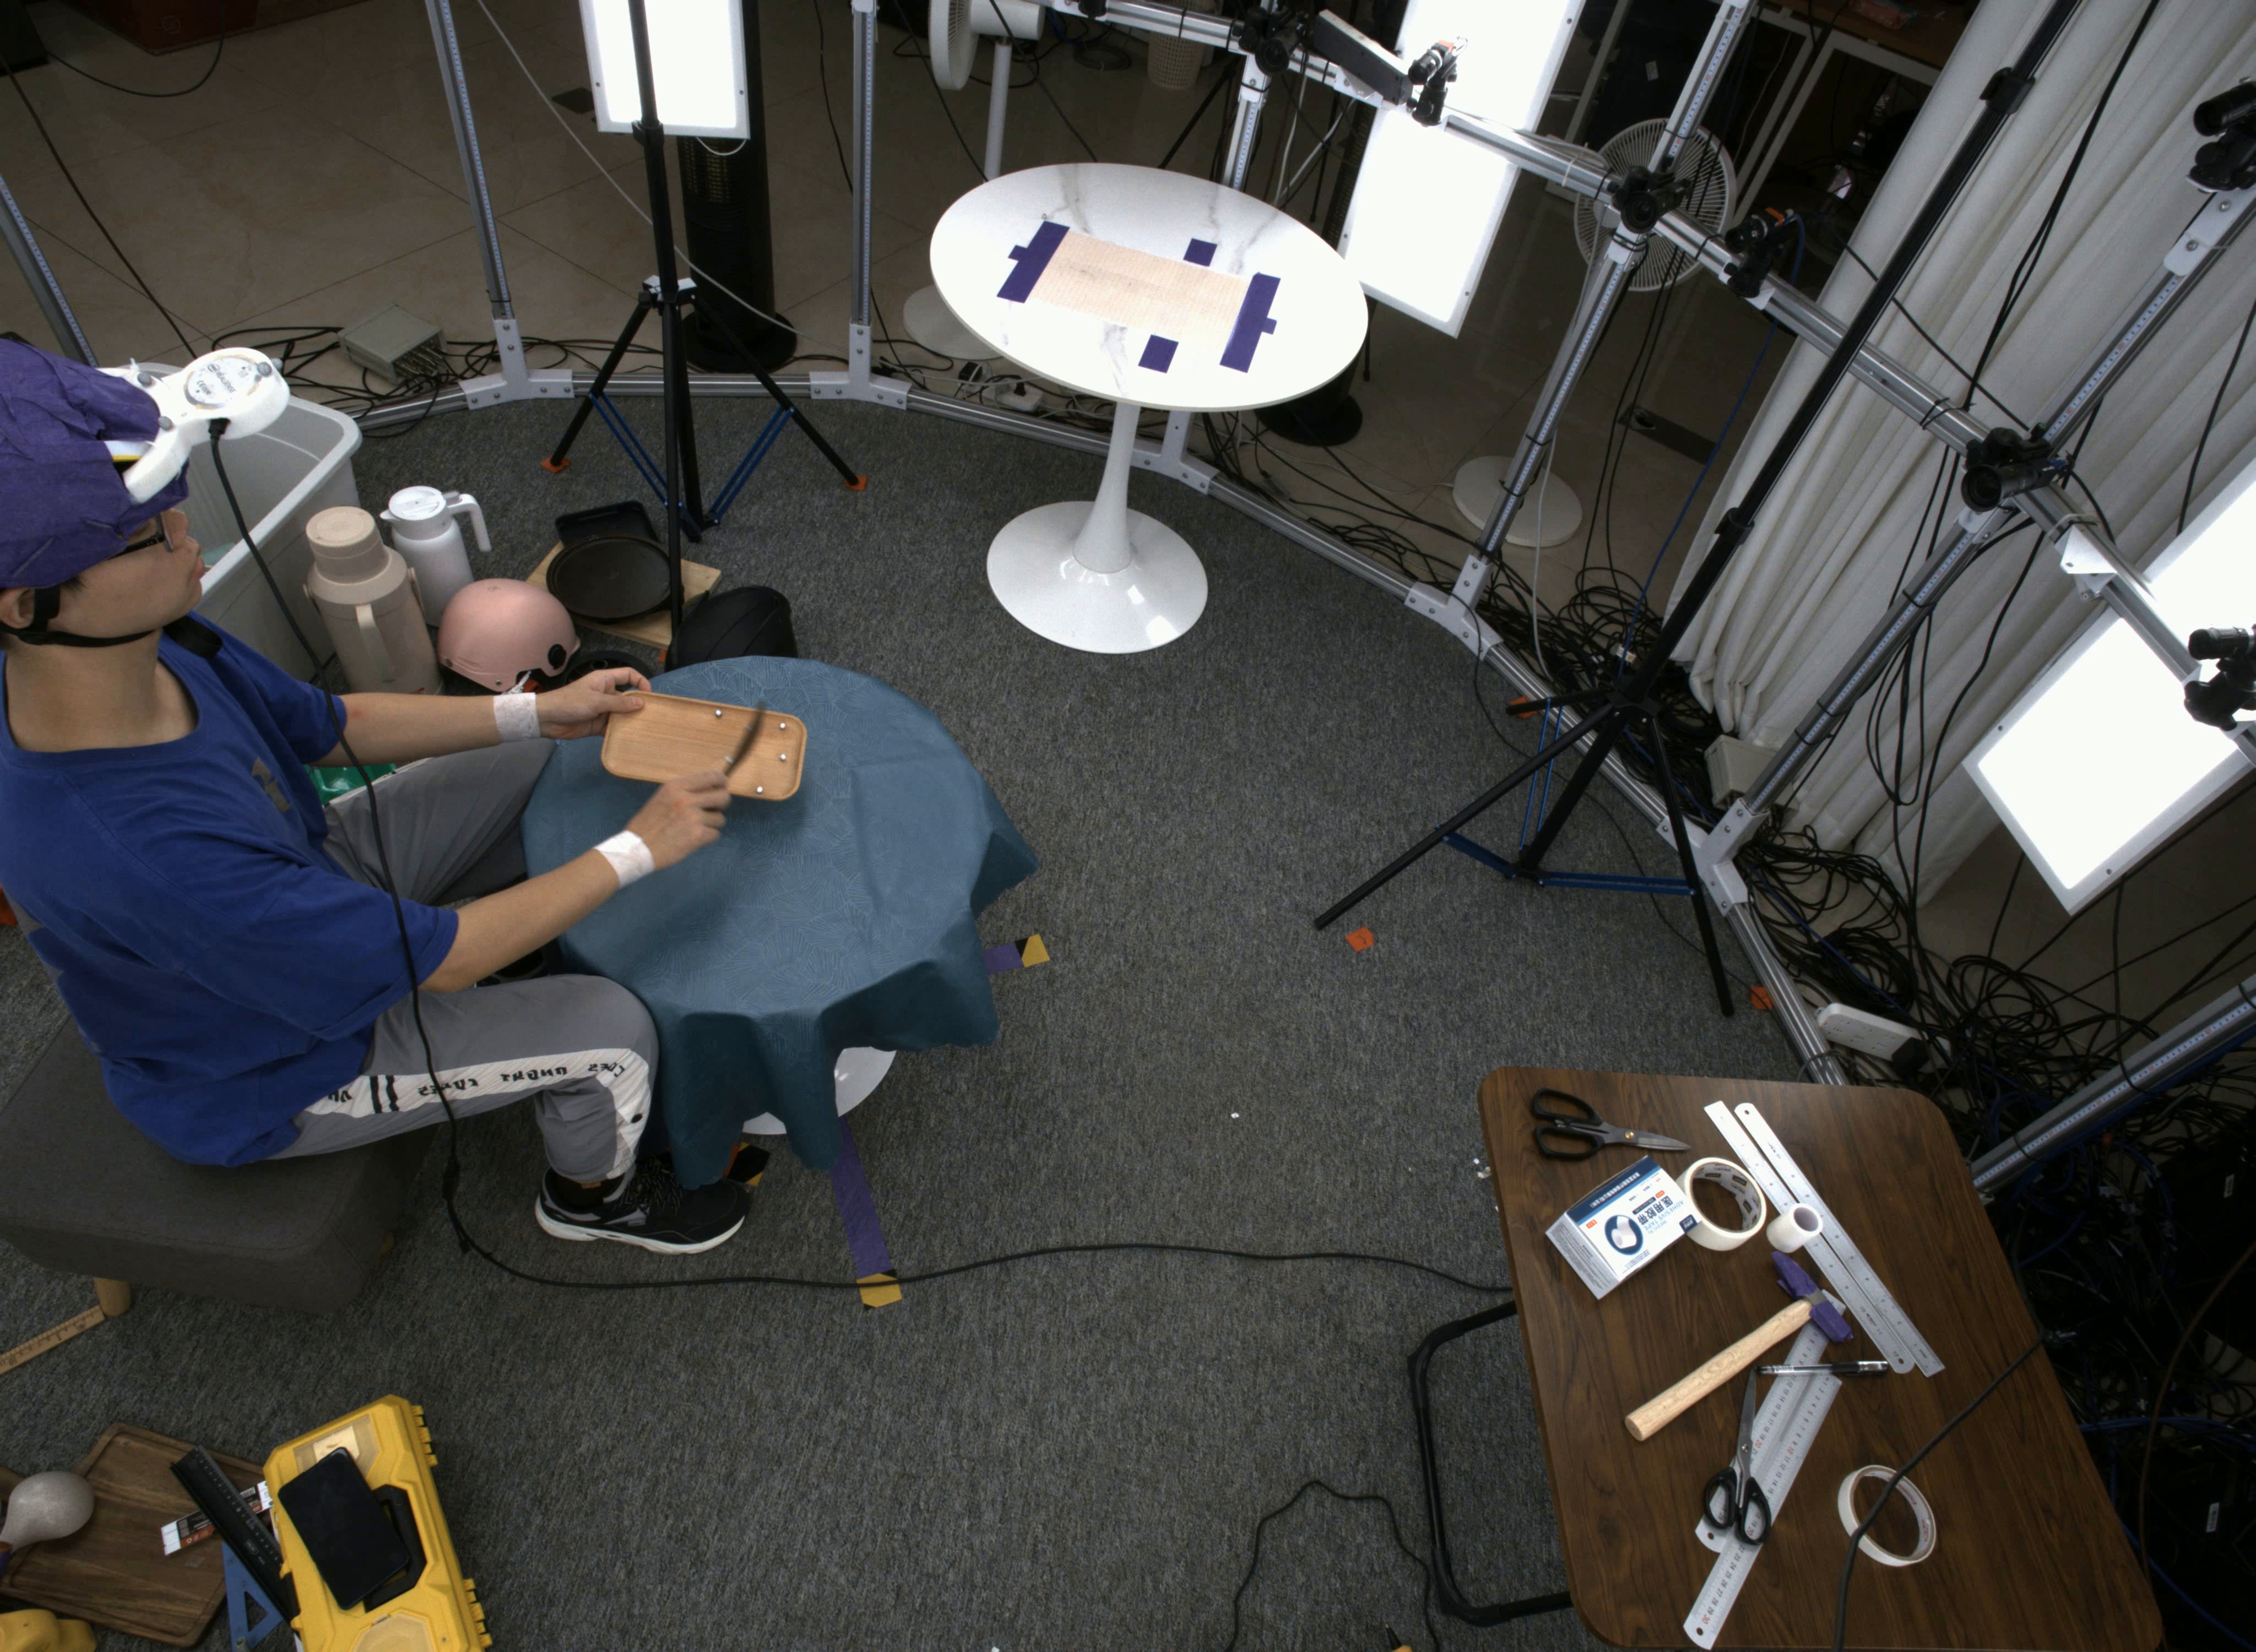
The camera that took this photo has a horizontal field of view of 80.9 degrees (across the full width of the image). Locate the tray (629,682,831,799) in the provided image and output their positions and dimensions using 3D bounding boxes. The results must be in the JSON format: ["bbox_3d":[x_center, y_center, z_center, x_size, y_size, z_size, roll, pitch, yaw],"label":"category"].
[{"bbox_3d":[-0.521,-0.111,1.689,0.252,0.023,0.129,11,63,-15],"label":"tray"}]

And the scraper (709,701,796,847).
[{"bbox_3d":[-0.465,-0.063,1.608,0.011,0.076,0.210,28,61,-3],"label":"scraper"}]
